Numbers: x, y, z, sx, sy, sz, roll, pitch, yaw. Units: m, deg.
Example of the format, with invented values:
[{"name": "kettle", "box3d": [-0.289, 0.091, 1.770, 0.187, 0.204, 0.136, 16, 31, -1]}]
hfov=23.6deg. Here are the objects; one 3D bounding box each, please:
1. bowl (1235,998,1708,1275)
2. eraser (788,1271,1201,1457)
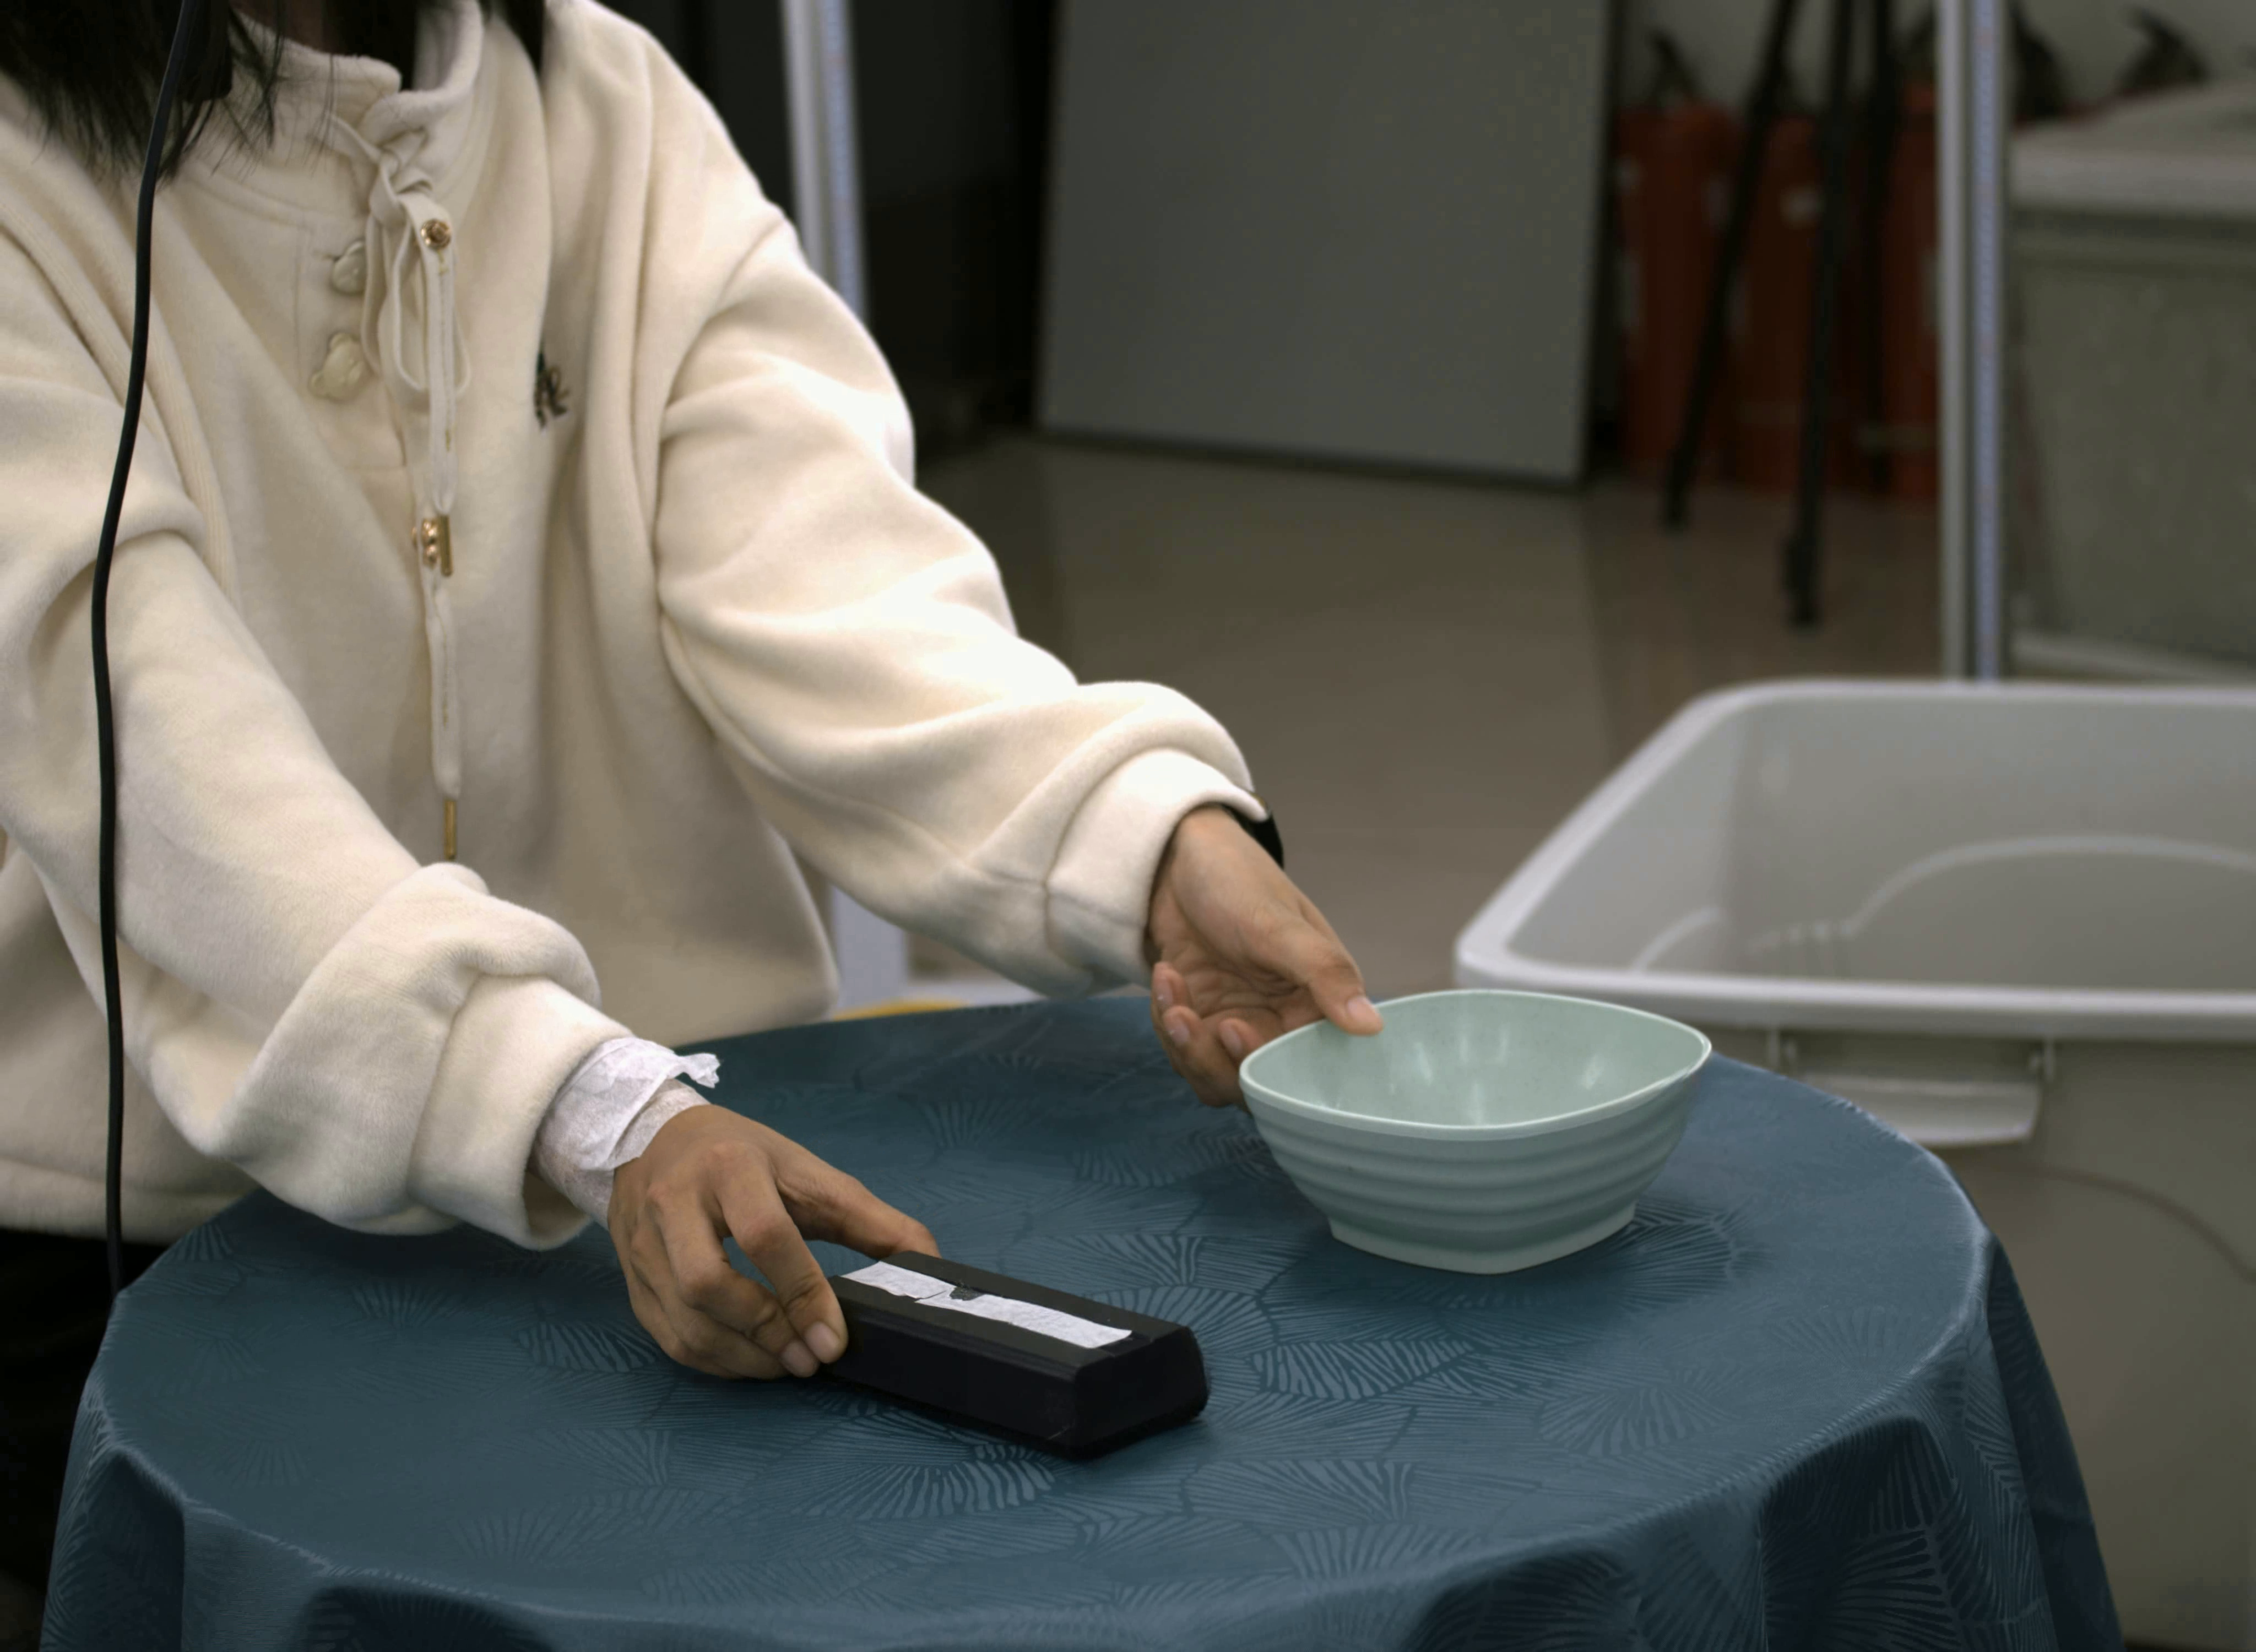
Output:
[{"name": "bowl", "box3d": [0.109, 0.100, 1.703, 0.149, 0.059, 0.151, -2, 12, -1]}, {"name": "eraser", "box3d": [-0.039, 0.156, 1.581, 0.126, 0.031, 0.052, 6, 15, 45]}]
